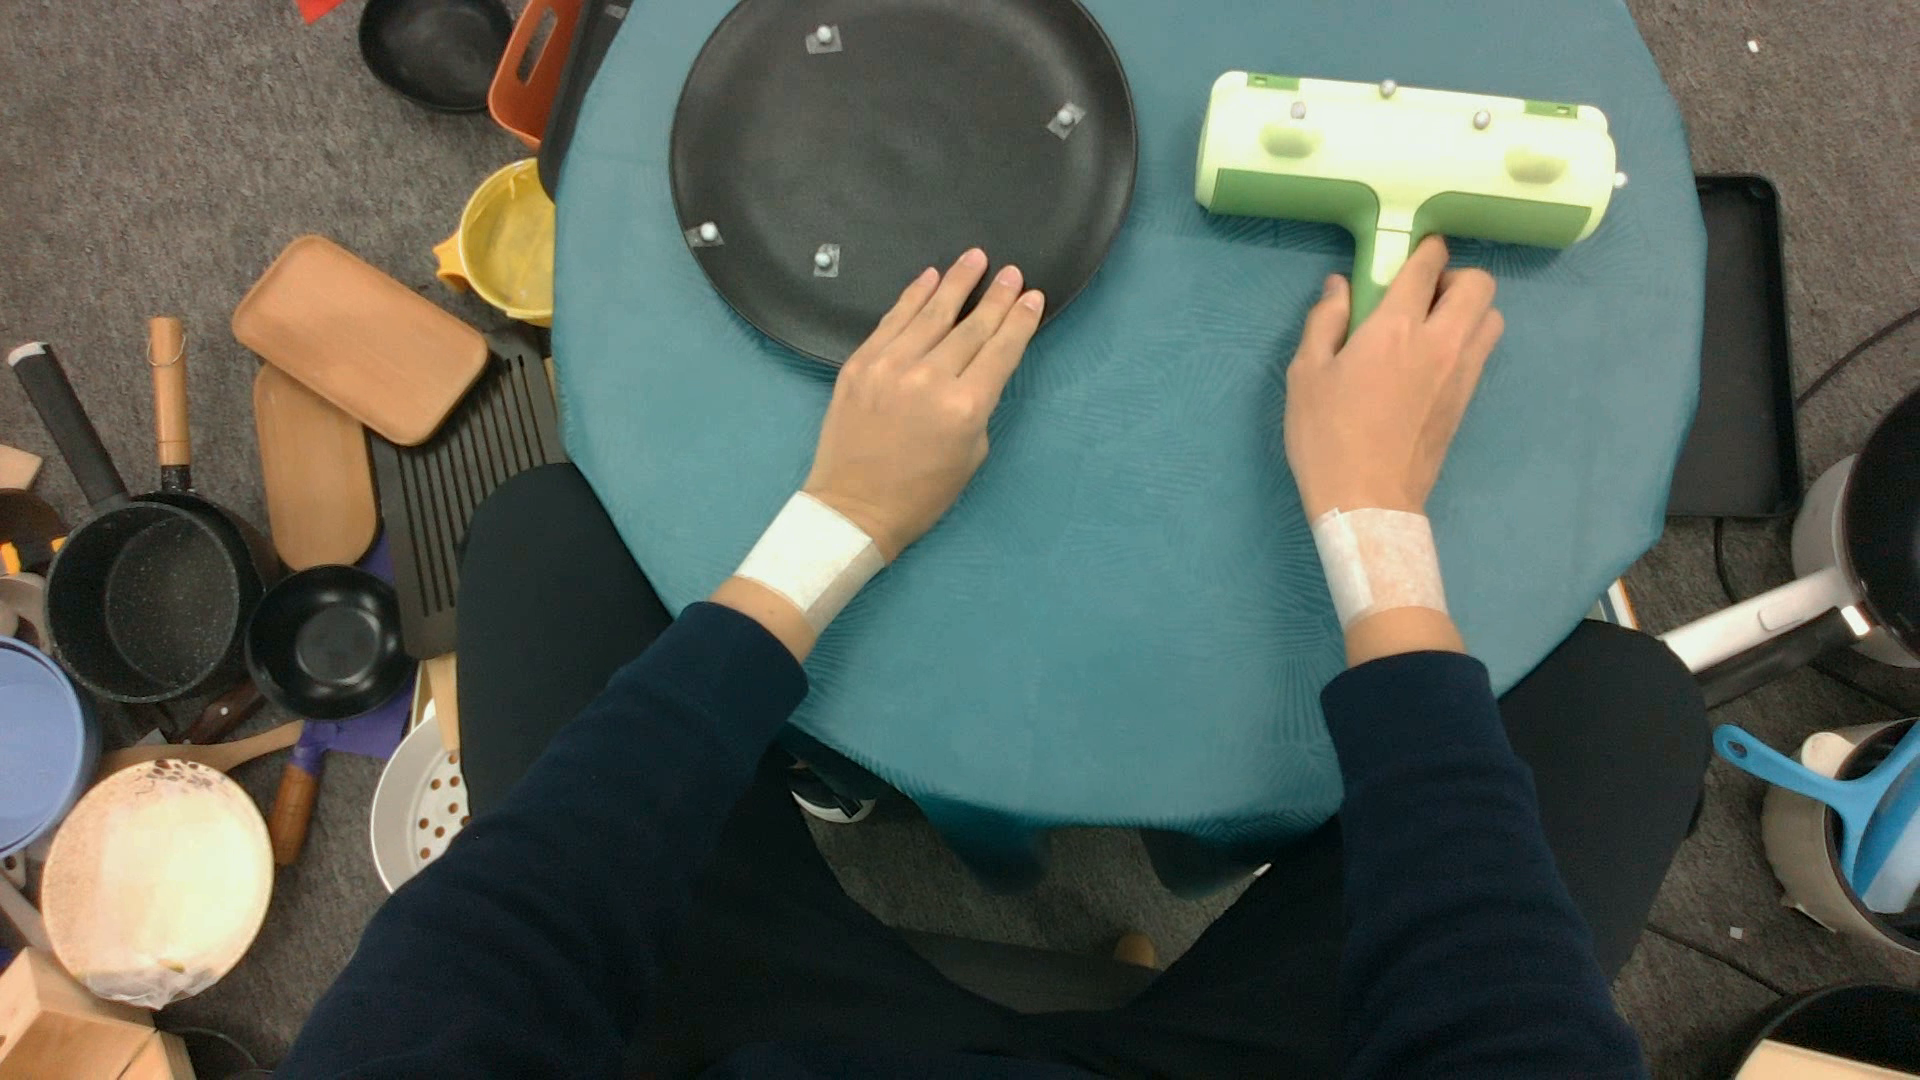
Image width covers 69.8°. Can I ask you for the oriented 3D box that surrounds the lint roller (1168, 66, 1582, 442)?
[{"bbox_3d":[0.199,-0.144,0.670,0.198,0.082,0.184,5,74,4],"label":"lint roller"}]

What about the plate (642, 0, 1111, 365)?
[{"bbox_3d":[-0.044,-0.205,0.720,0.244,0.023,0.245,0,79,2],"label":"plate"}]
